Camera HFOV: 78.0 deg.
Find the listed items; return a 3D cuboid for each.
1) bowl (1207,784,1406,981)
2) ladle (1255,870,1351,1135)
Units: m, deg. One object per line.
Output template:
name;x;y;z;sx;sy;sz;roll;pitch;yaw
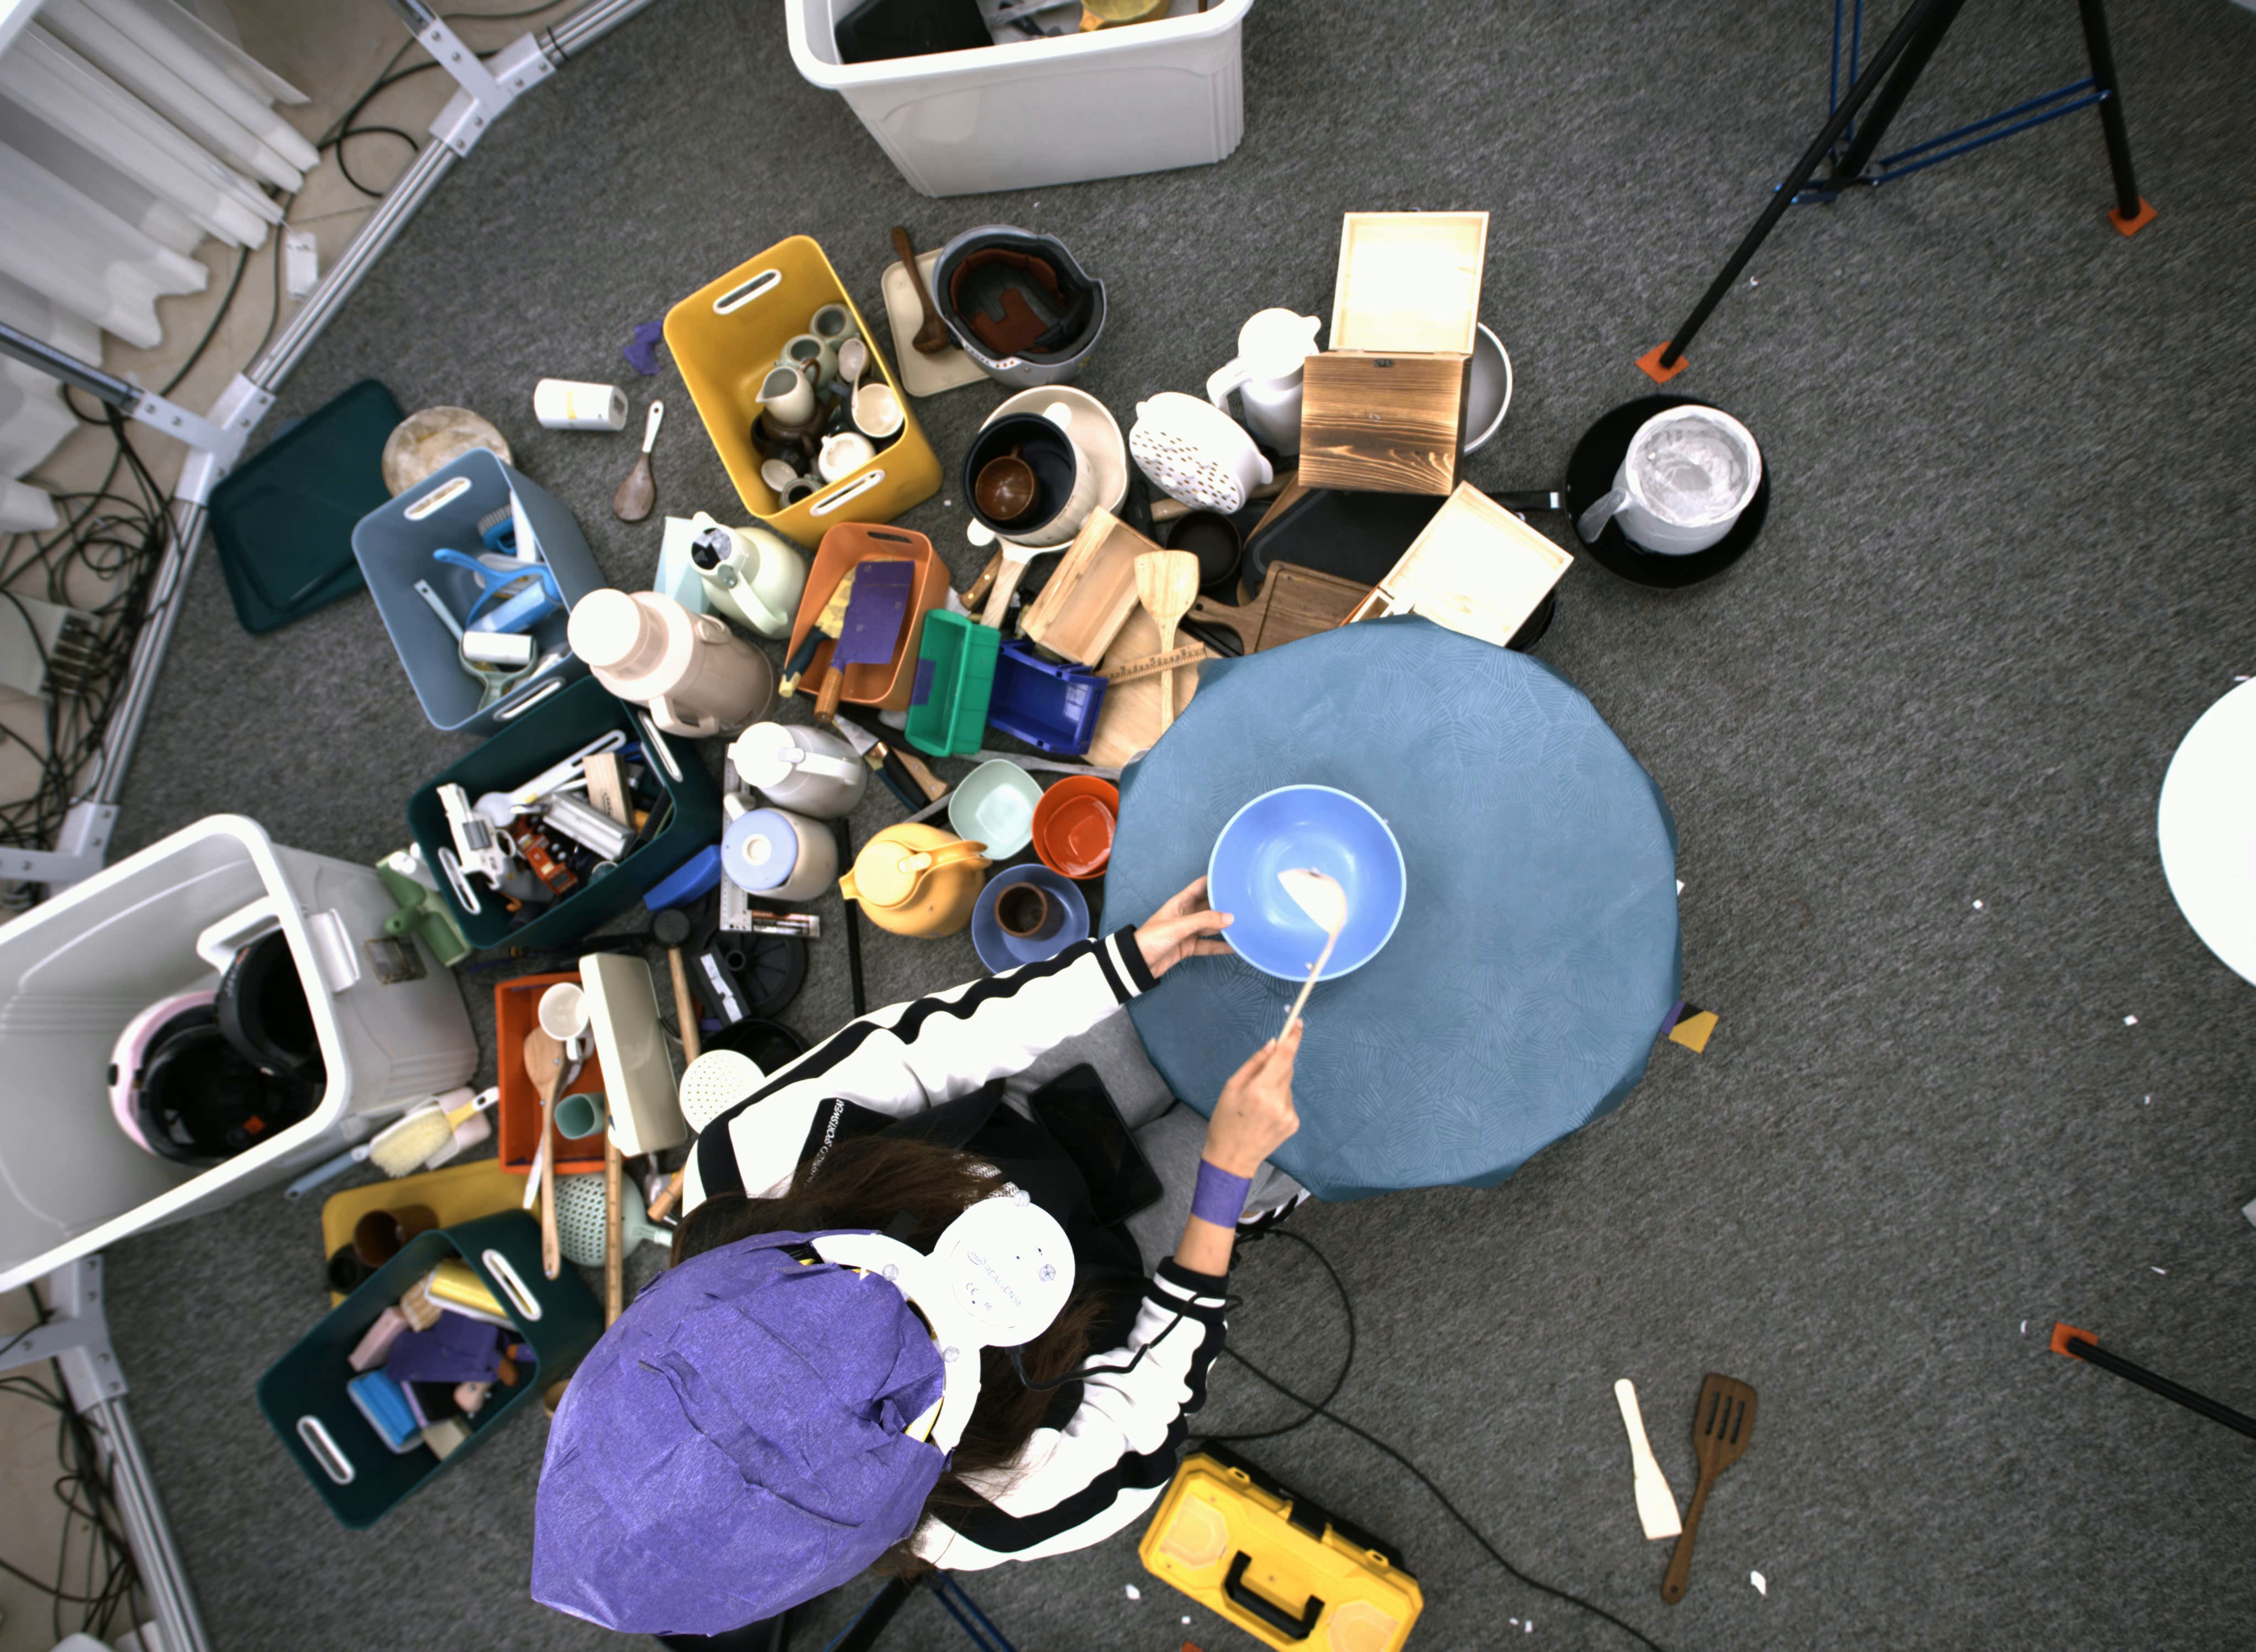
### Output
bowl;0.183;0.055;1.418;0.197;0.095;0.197;0;93;9
ladle;0.134;0.162;1.287;0.073;0.071;0.257;21;103;-1
